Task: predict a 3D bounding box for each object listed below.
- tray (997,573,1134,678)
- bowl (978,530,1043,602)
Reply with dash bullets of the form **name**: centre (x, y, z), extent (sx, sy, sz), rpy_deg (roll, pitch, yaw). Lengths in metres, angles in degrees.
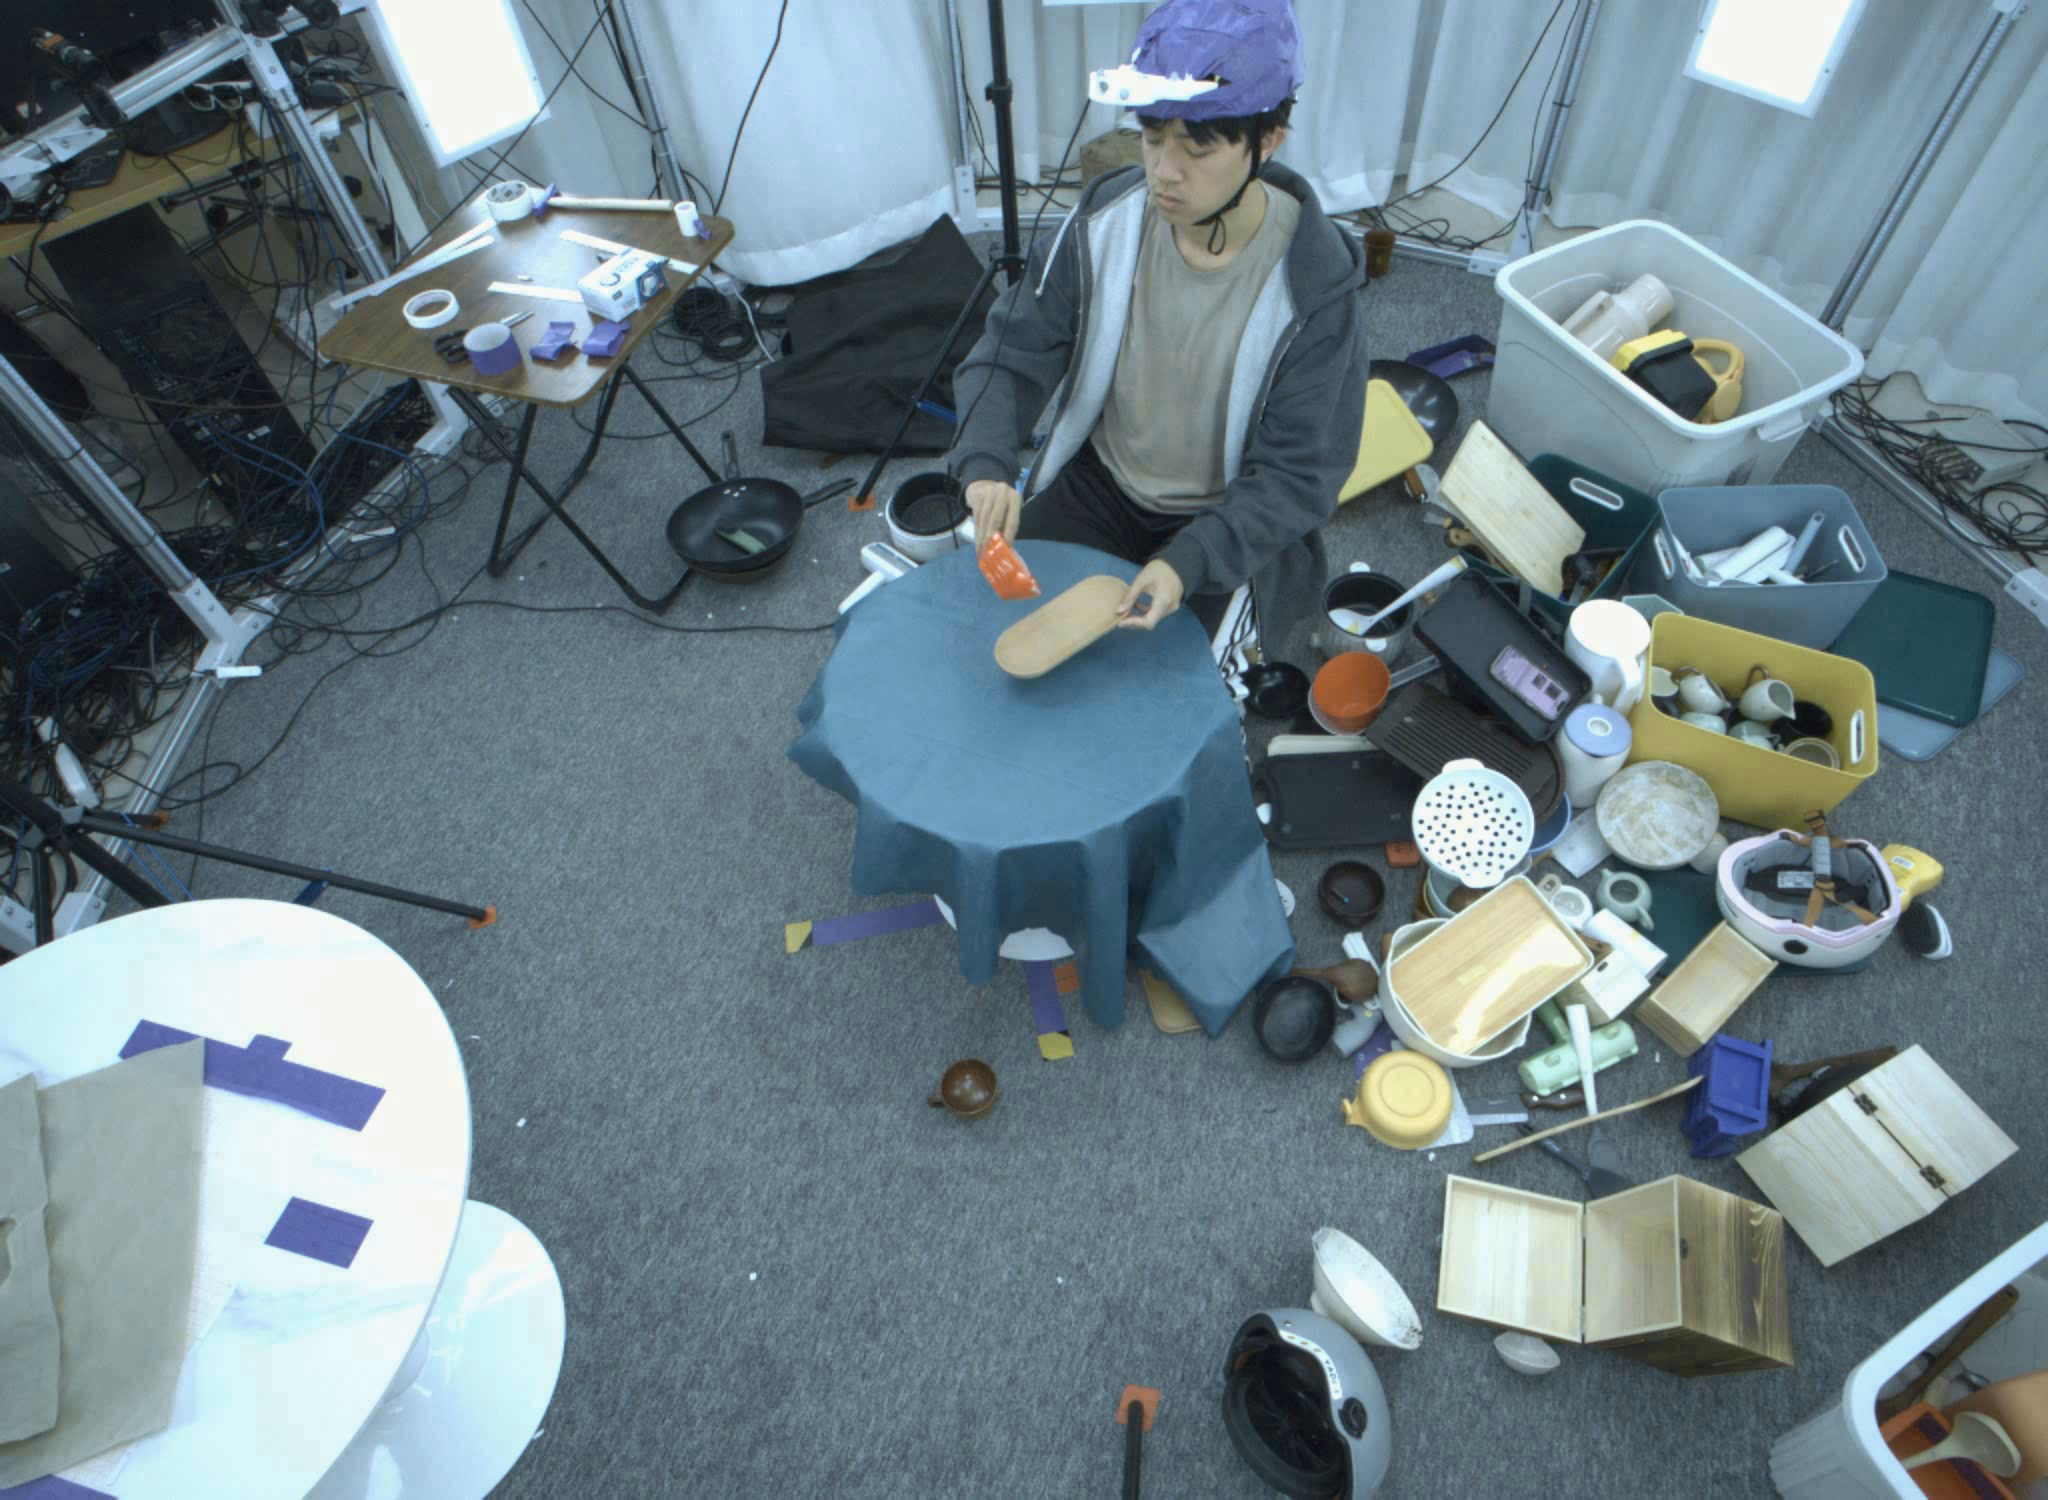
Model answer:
- **tray**: centre (0.062, -0.186, 1.836), extent (0.232, 0.020, 0.100), rpy_deg (-34, 60, -13)
- **bowl**: centre (-0.025, -0.252, 1.735), extent (0.051, 0.121, 0.117), rpy_deg (-35, 57, 10)
